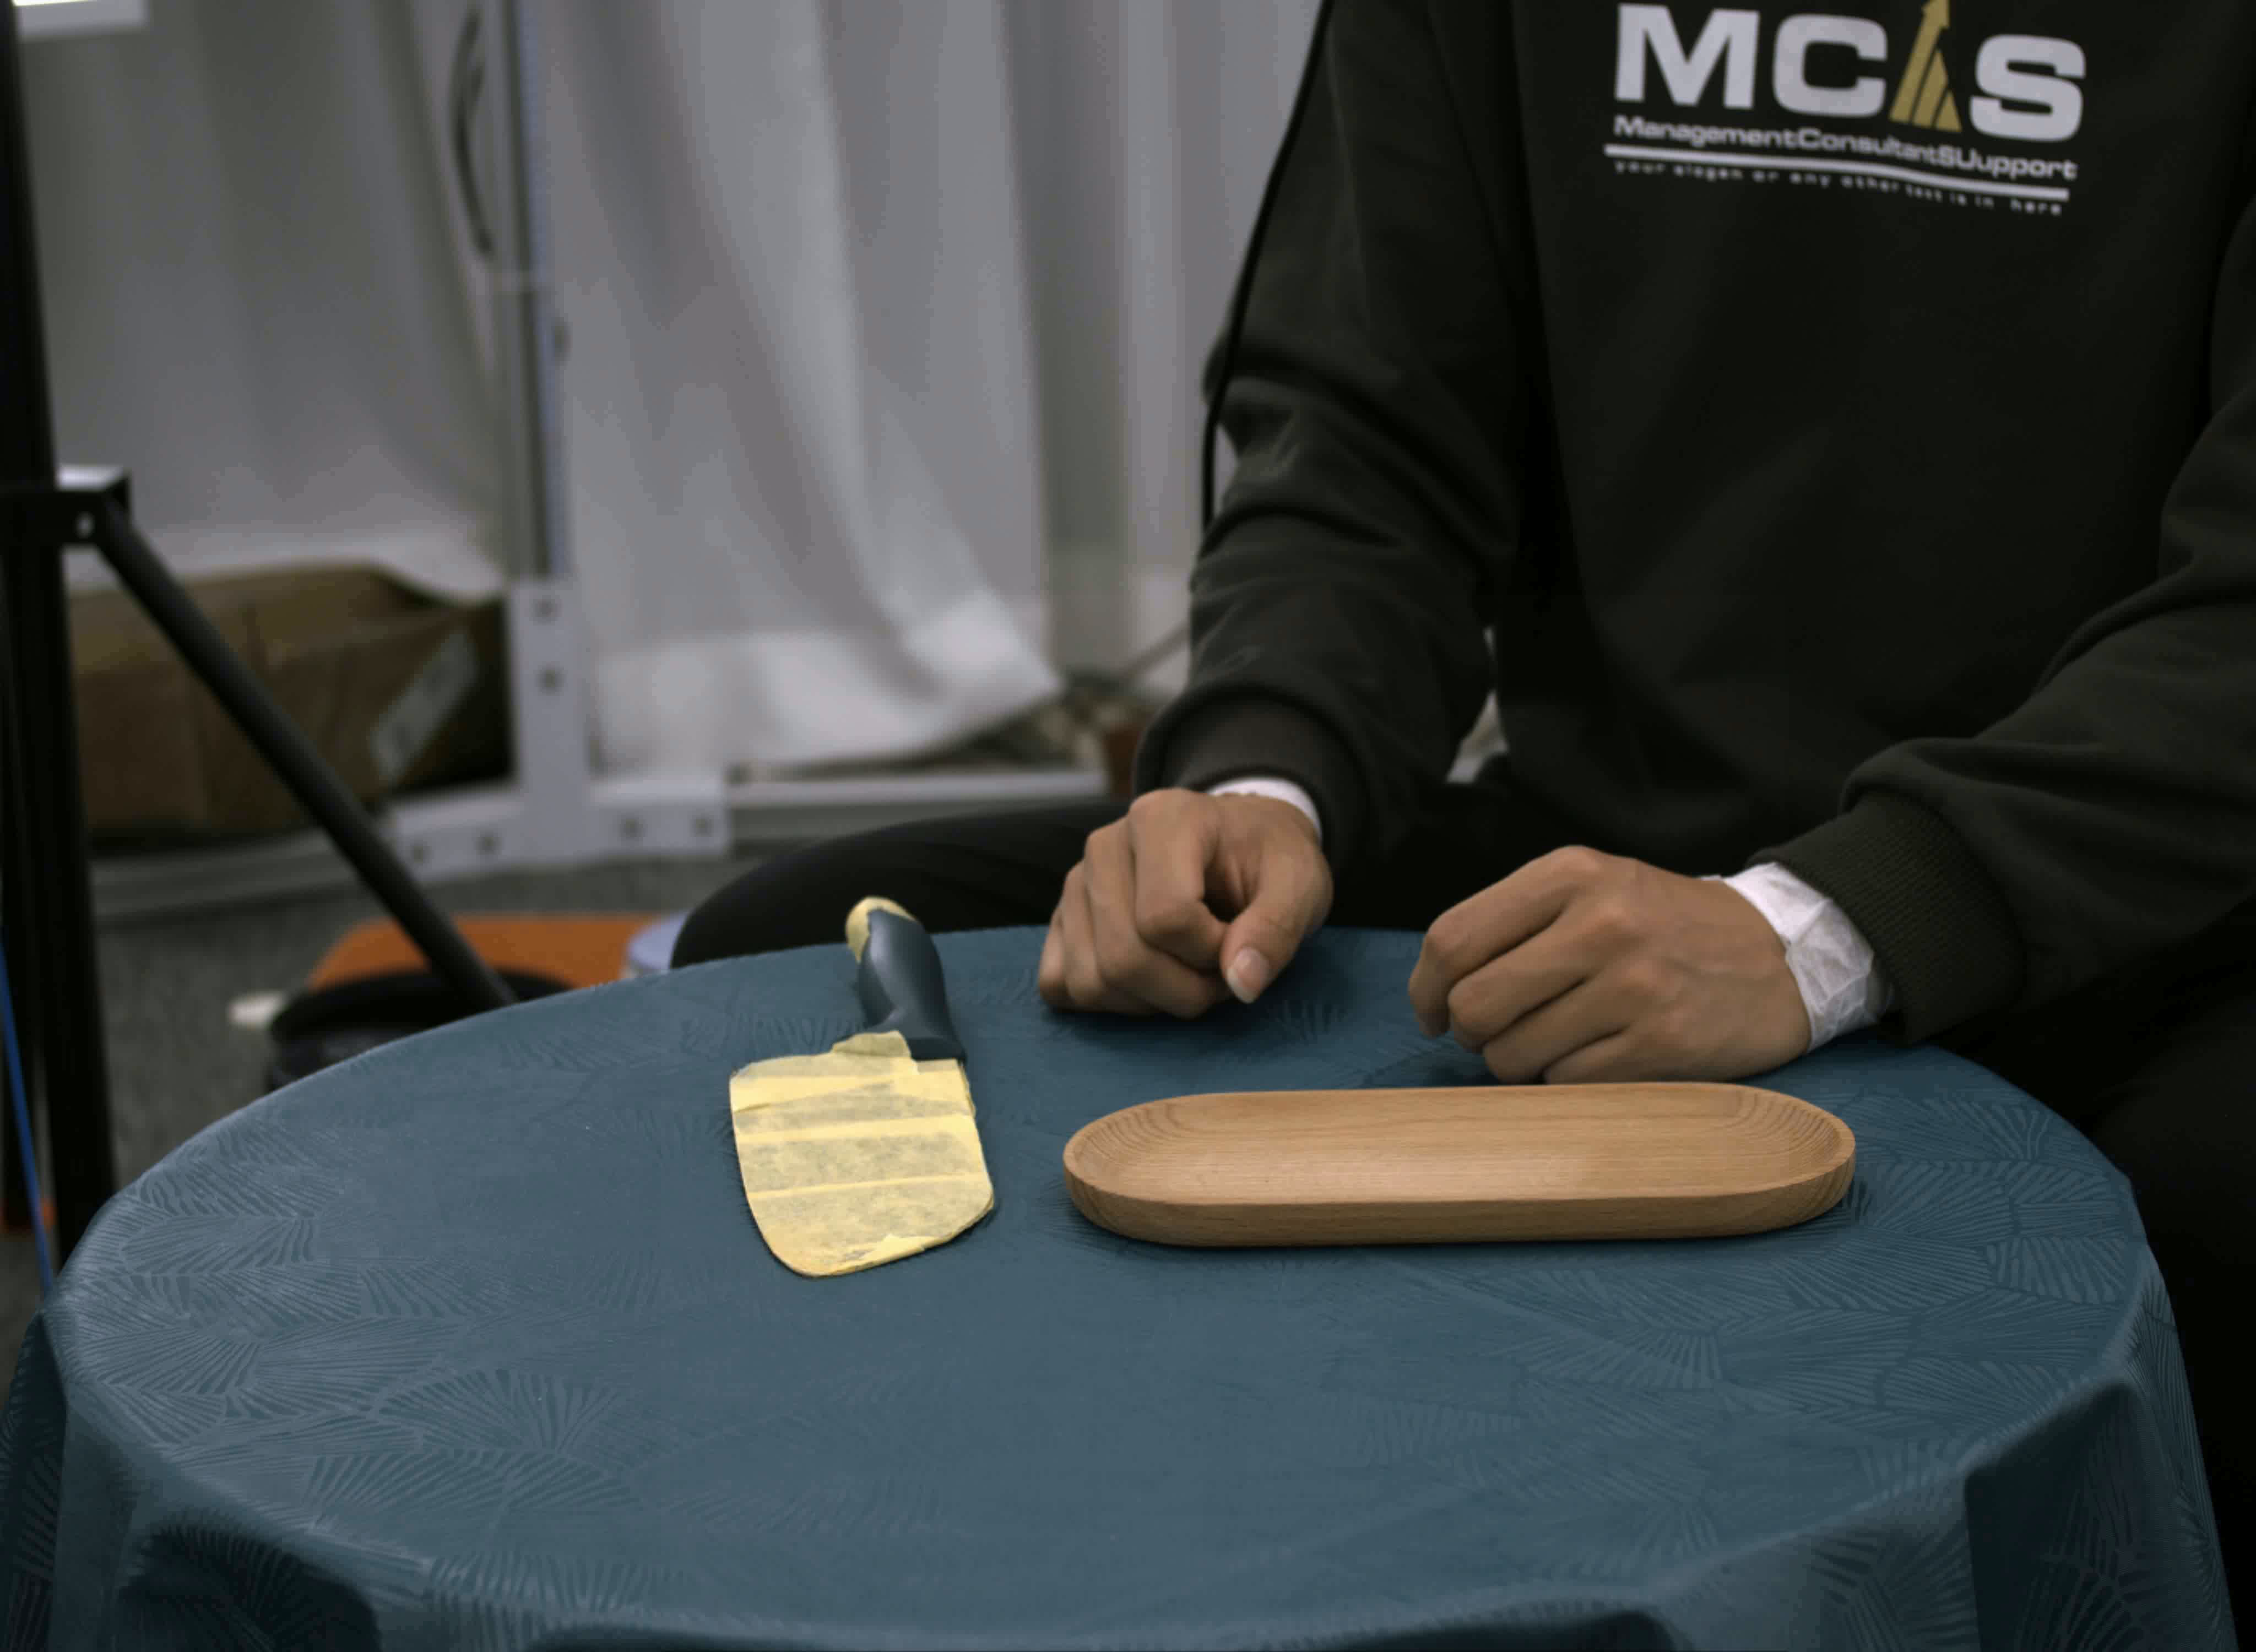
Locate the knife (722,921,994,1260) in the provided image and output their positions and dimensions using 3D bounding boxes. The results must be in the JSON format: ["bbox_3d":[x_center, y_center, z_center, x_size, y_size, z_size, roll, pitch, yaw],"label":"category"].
[{"bbox_3d":[-0.085,0.081,1.643,0.080,0.027,0.291,-2,17,-4],"label":"knife"}]

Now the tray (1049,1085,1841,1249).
[{"bbox_3d":[0.093,0.100,1.546,0.231,0.020,0.102,-3,14,4],"label":"tray"}]
